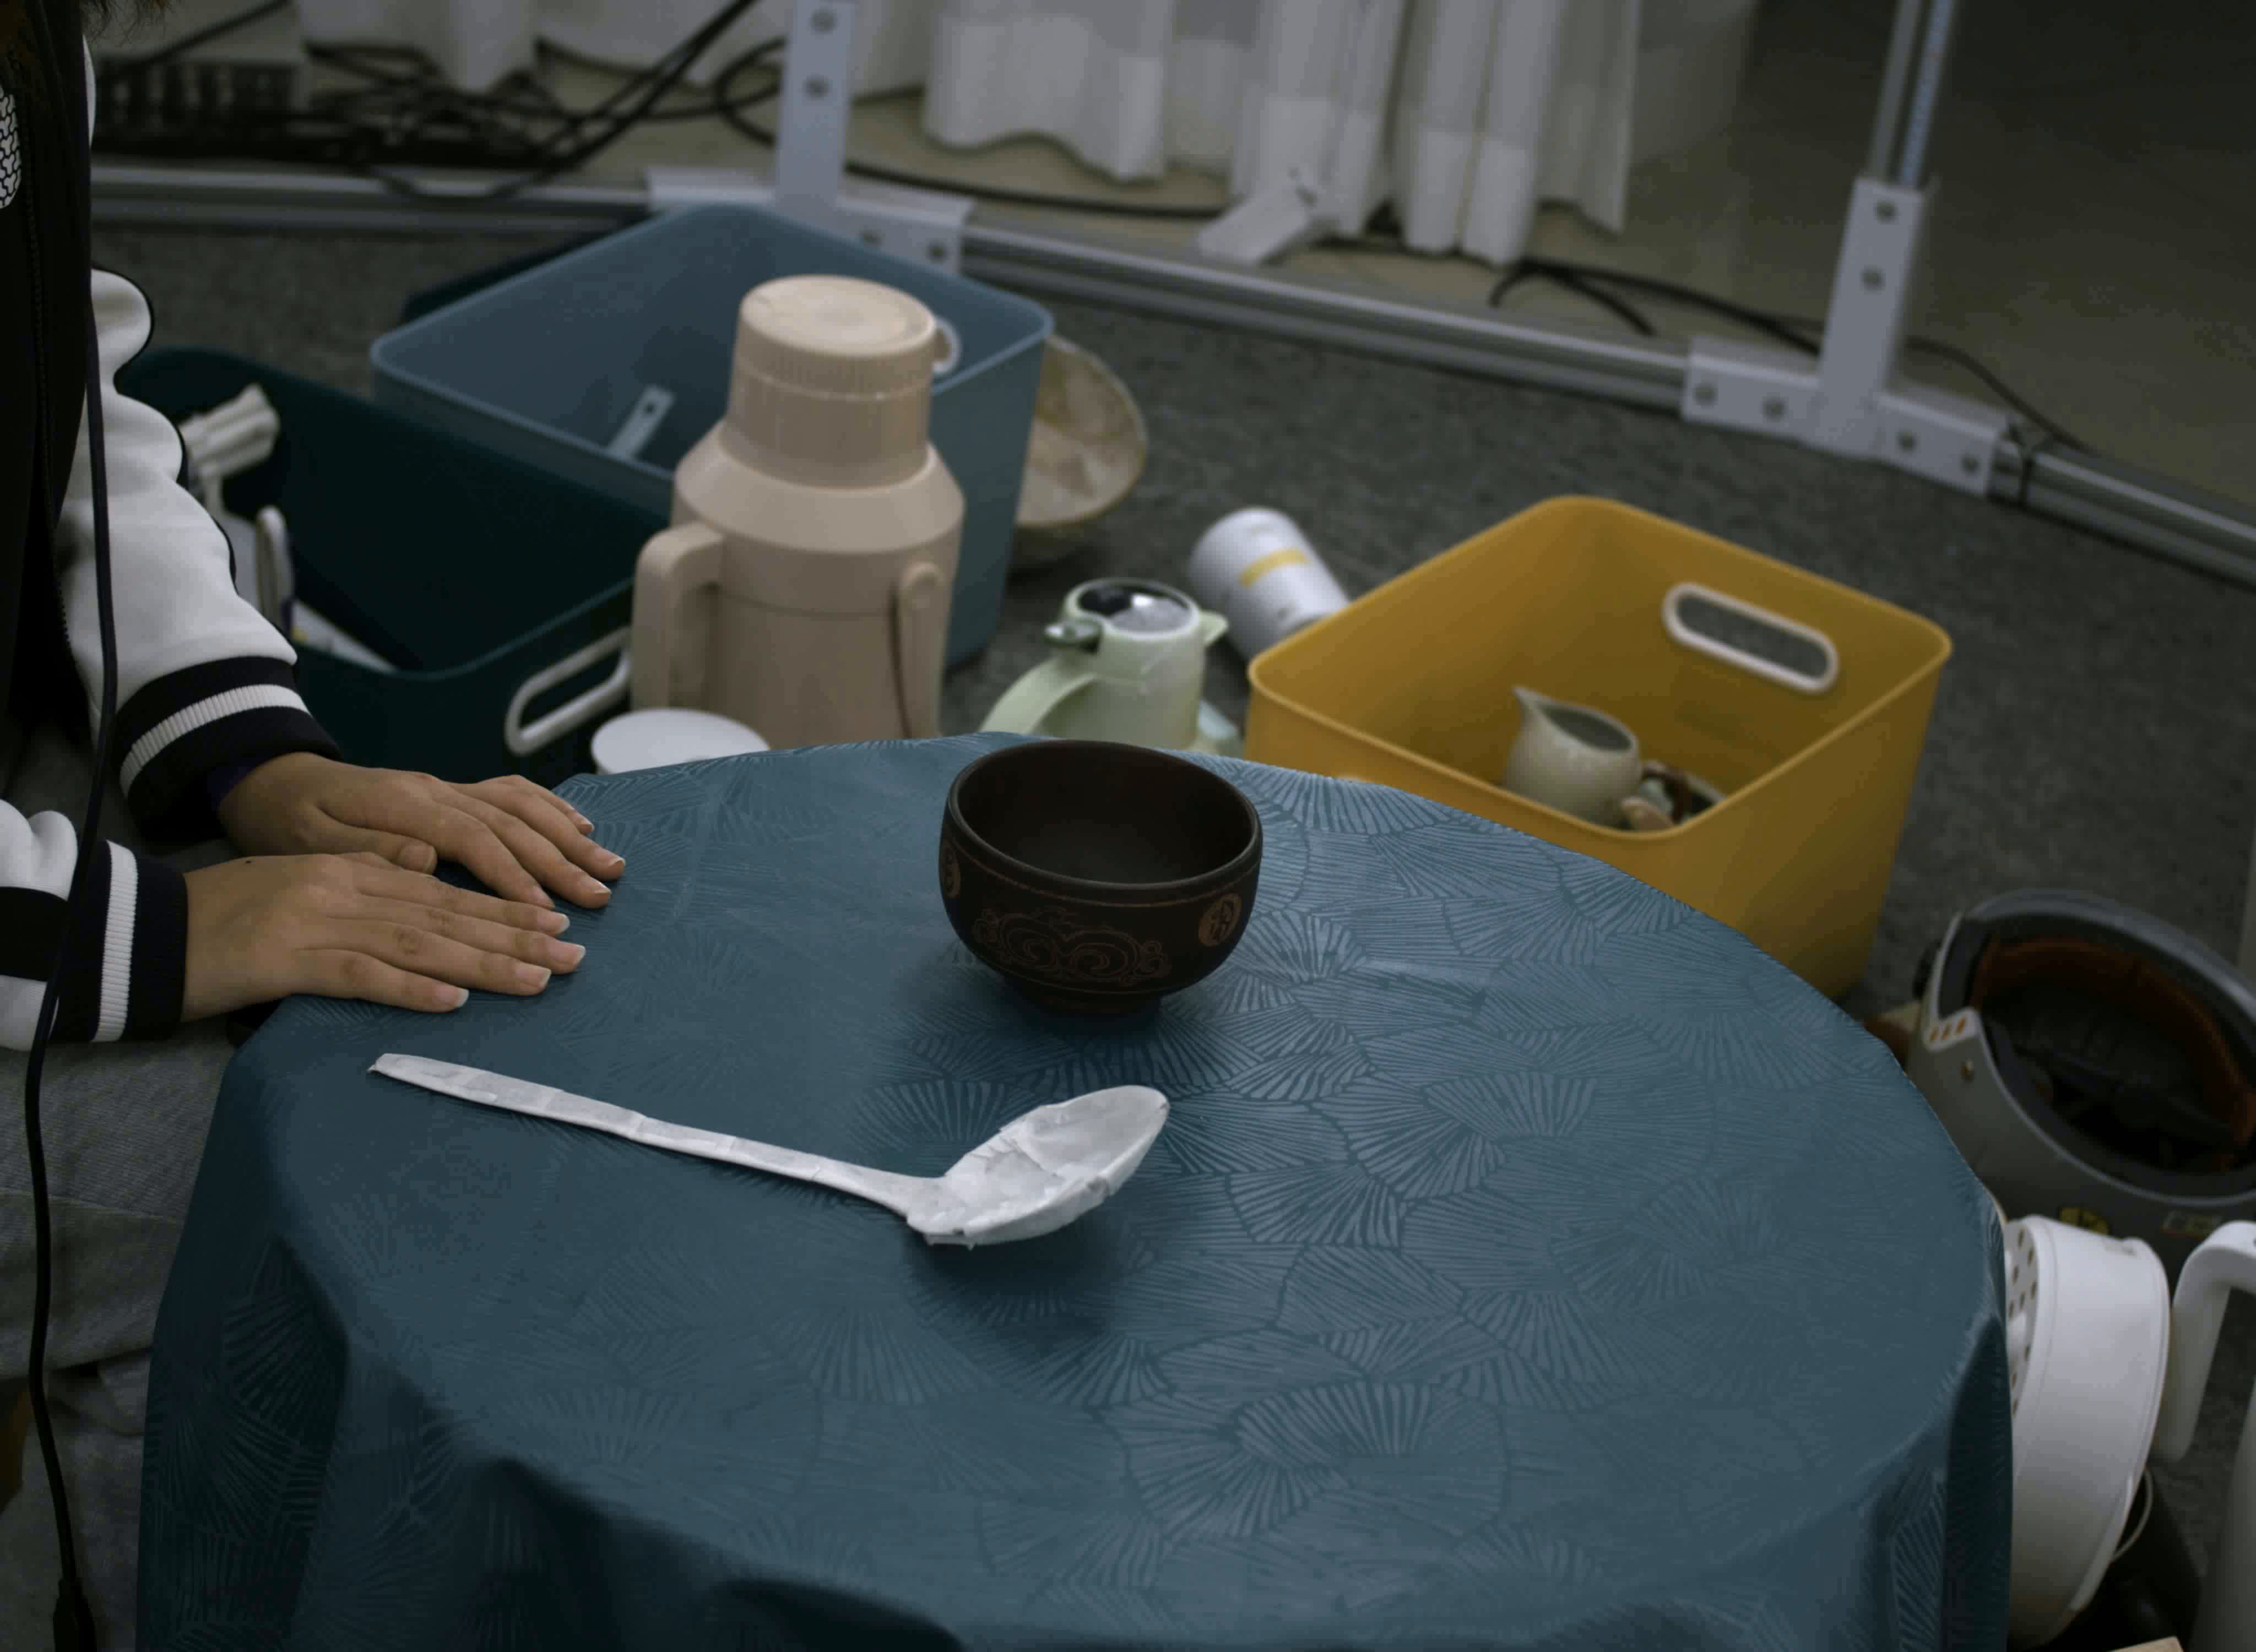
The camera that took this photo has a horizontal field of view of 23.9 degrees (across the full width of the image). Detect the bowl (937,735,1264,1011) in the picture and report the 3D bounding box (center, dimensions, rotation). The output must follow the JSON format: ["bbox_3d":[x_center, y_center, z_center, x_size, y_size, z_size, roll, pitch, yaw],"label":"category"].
[{"bbox_3d":[-0.012,0.023,1.916,0.117,0.069,0.119,5,26,-3],"label":"bowl"}]

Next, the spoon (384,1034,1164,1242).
[{"bbox_3d":[-0.122,0.085,1.787,0.278,0.059,0.101,15,25,16],"label":"spoon"}]
